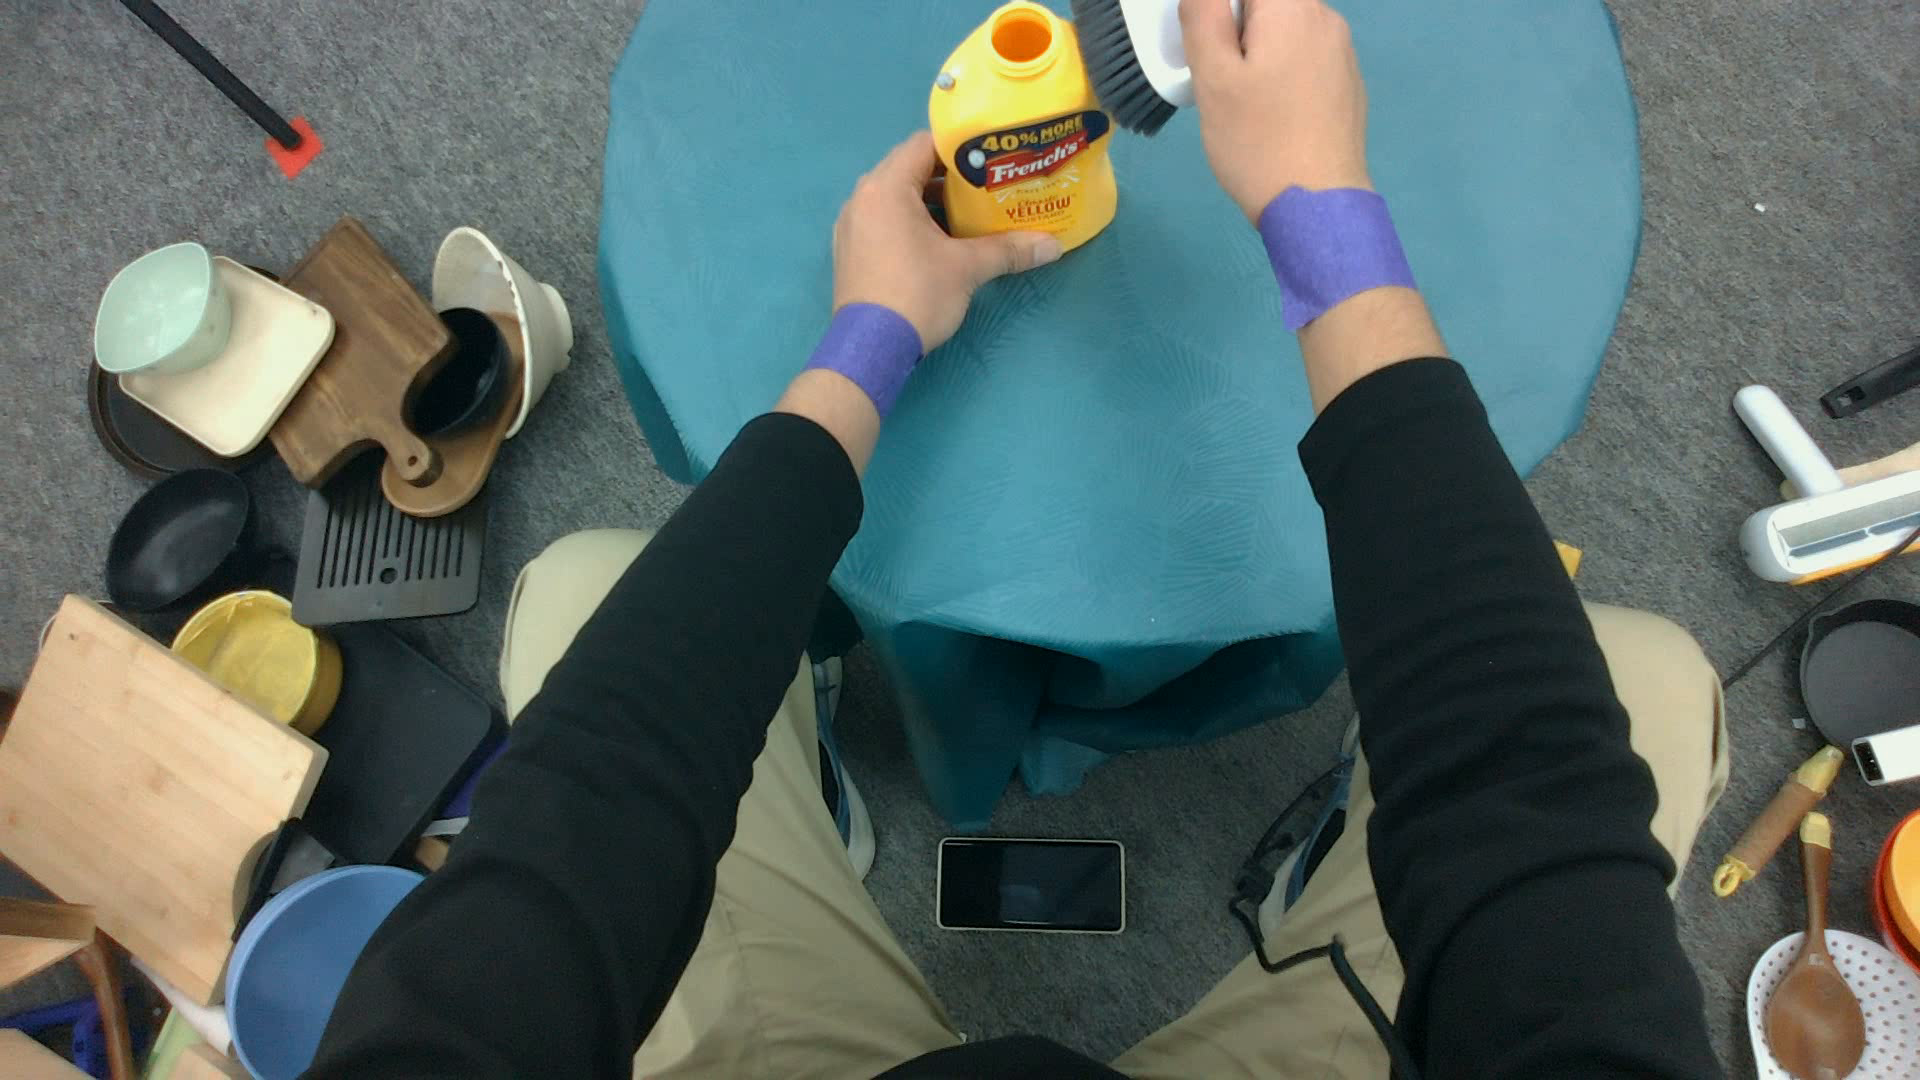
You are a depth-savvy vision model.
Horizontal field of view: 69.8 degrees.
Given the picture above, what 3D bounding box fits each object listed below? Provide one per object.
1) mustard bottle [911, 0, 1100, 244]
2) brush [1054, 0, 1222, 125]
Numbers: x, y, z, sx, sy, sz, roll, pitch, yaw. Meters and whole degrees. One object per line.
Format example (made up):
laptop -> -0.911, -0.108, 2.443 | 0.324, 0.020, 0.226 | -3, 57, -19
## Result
mustard bottle -> 0.025, -0.216, 0.713 | 0.098, 0.171, 0.059 | -14, 77, -2
brush -> 0.087, -0.256, 0.644 | 0.072, 0.050, 0.099 | -25, 70, 43
